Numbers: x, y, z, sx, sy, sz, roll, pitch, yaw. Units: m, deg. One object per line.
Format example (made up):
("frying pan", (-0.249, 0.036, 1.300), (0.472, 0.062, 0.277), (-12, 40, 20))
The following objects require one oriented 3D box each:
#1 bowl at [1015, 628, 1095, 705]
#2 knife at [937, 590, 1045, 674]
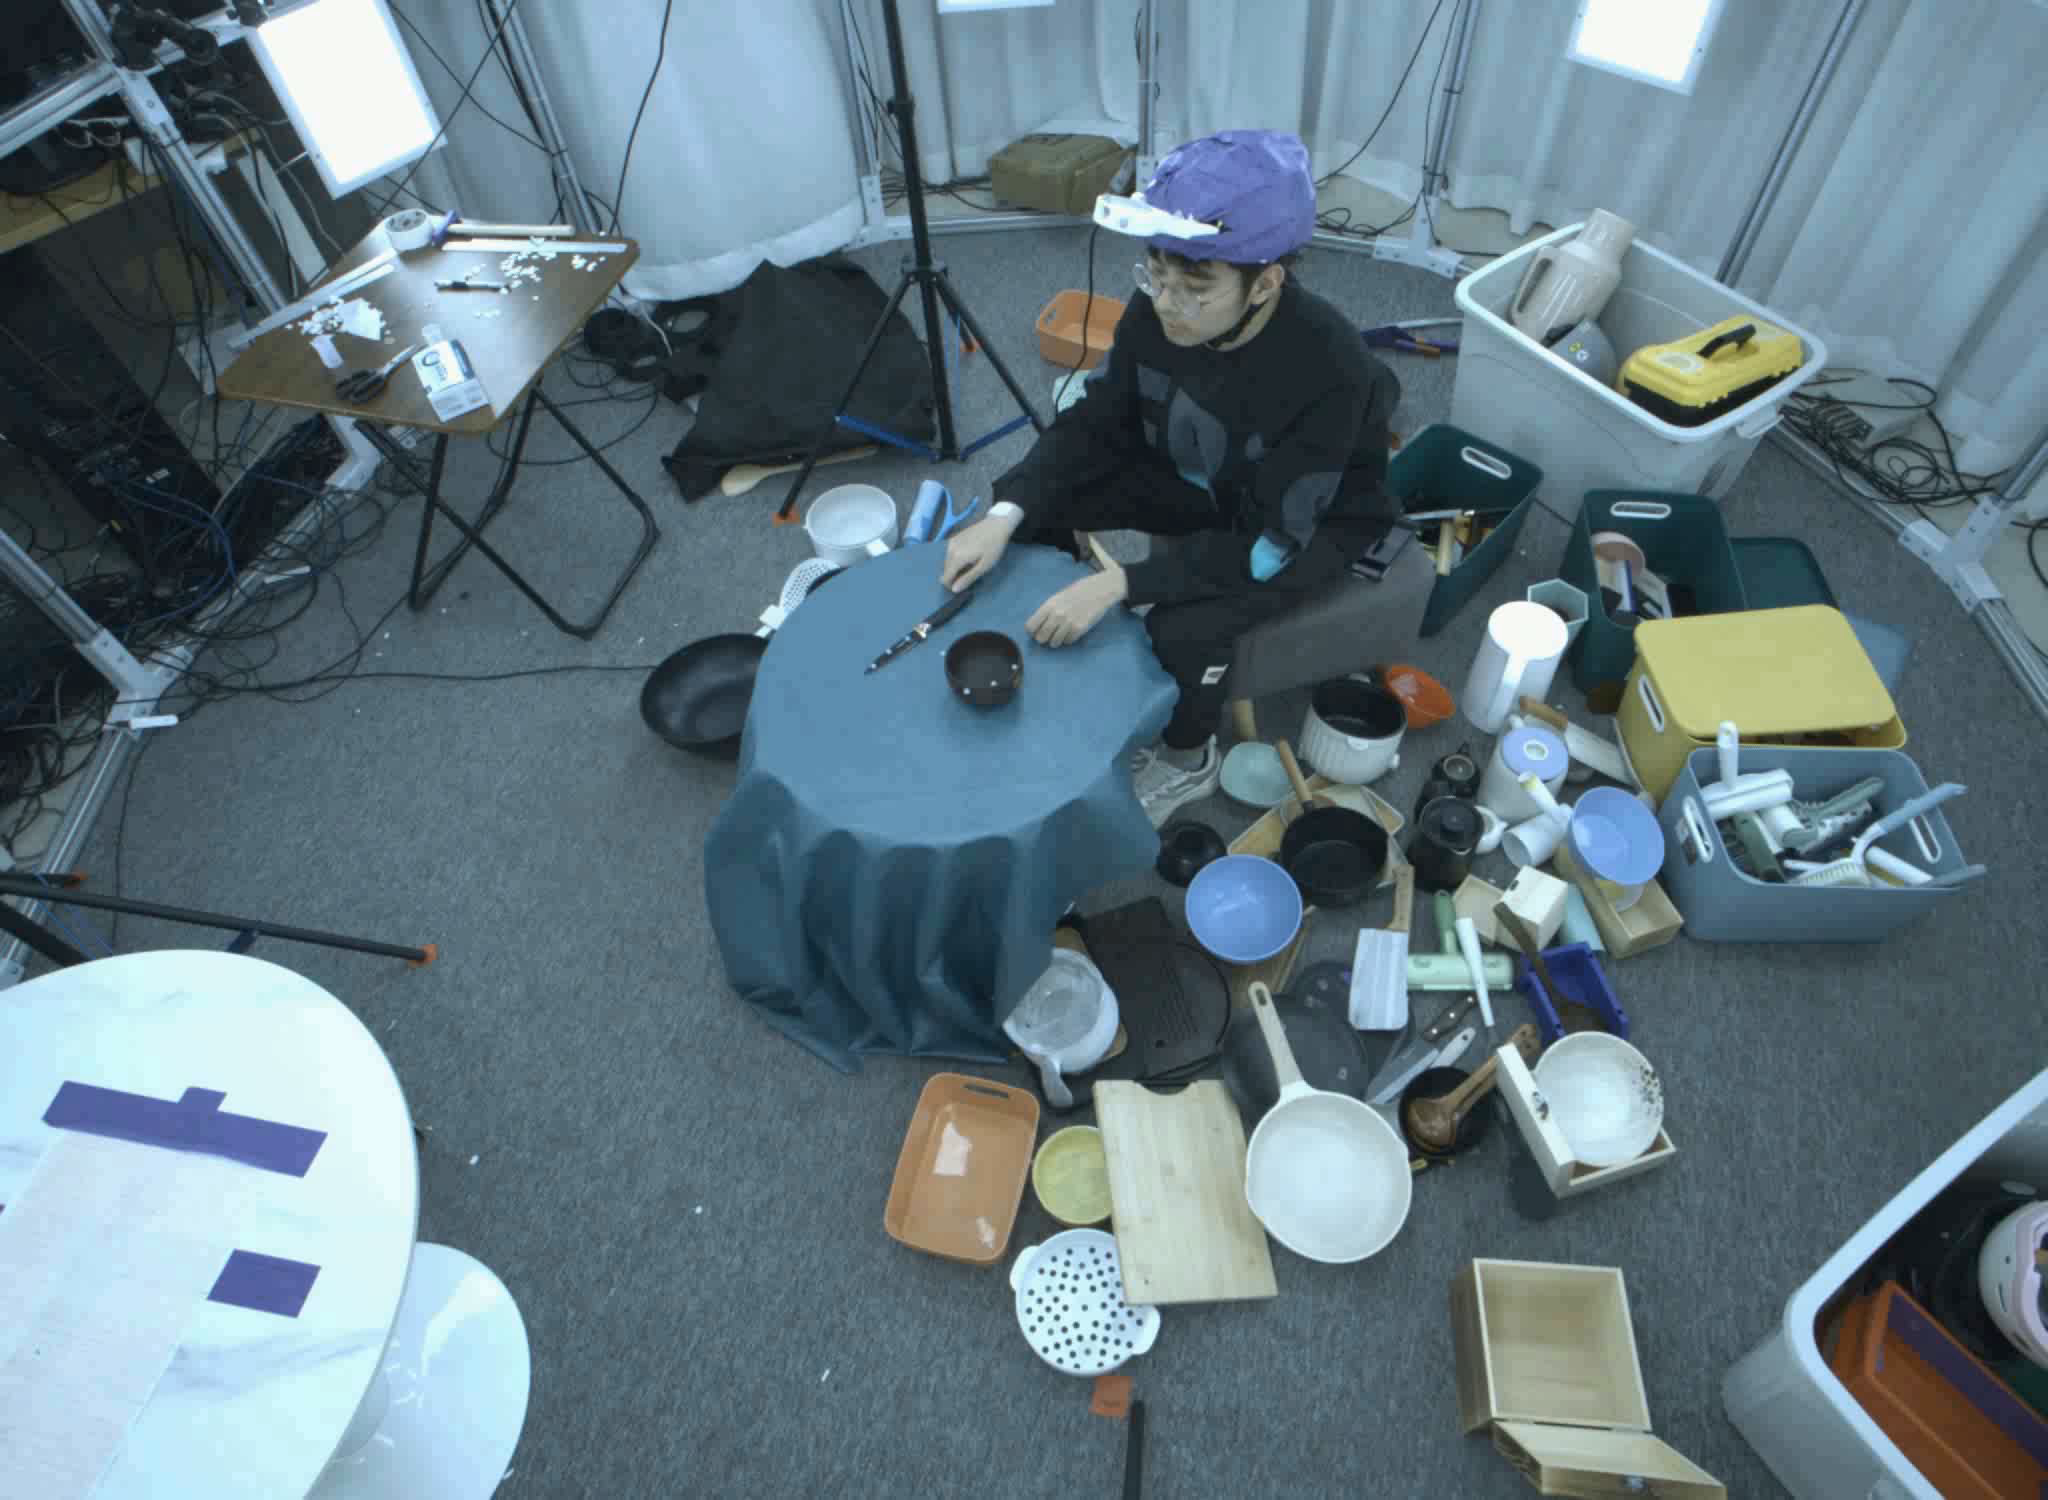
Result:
("bowl", (0.046, -0.115, 1.821), (0.118, 0.070, 0.117), (1, 54, 1))
("knife", (-0.053, -0.186, 1.914), (0.227, 0.017, 0.026), (-37, 68, -20))
